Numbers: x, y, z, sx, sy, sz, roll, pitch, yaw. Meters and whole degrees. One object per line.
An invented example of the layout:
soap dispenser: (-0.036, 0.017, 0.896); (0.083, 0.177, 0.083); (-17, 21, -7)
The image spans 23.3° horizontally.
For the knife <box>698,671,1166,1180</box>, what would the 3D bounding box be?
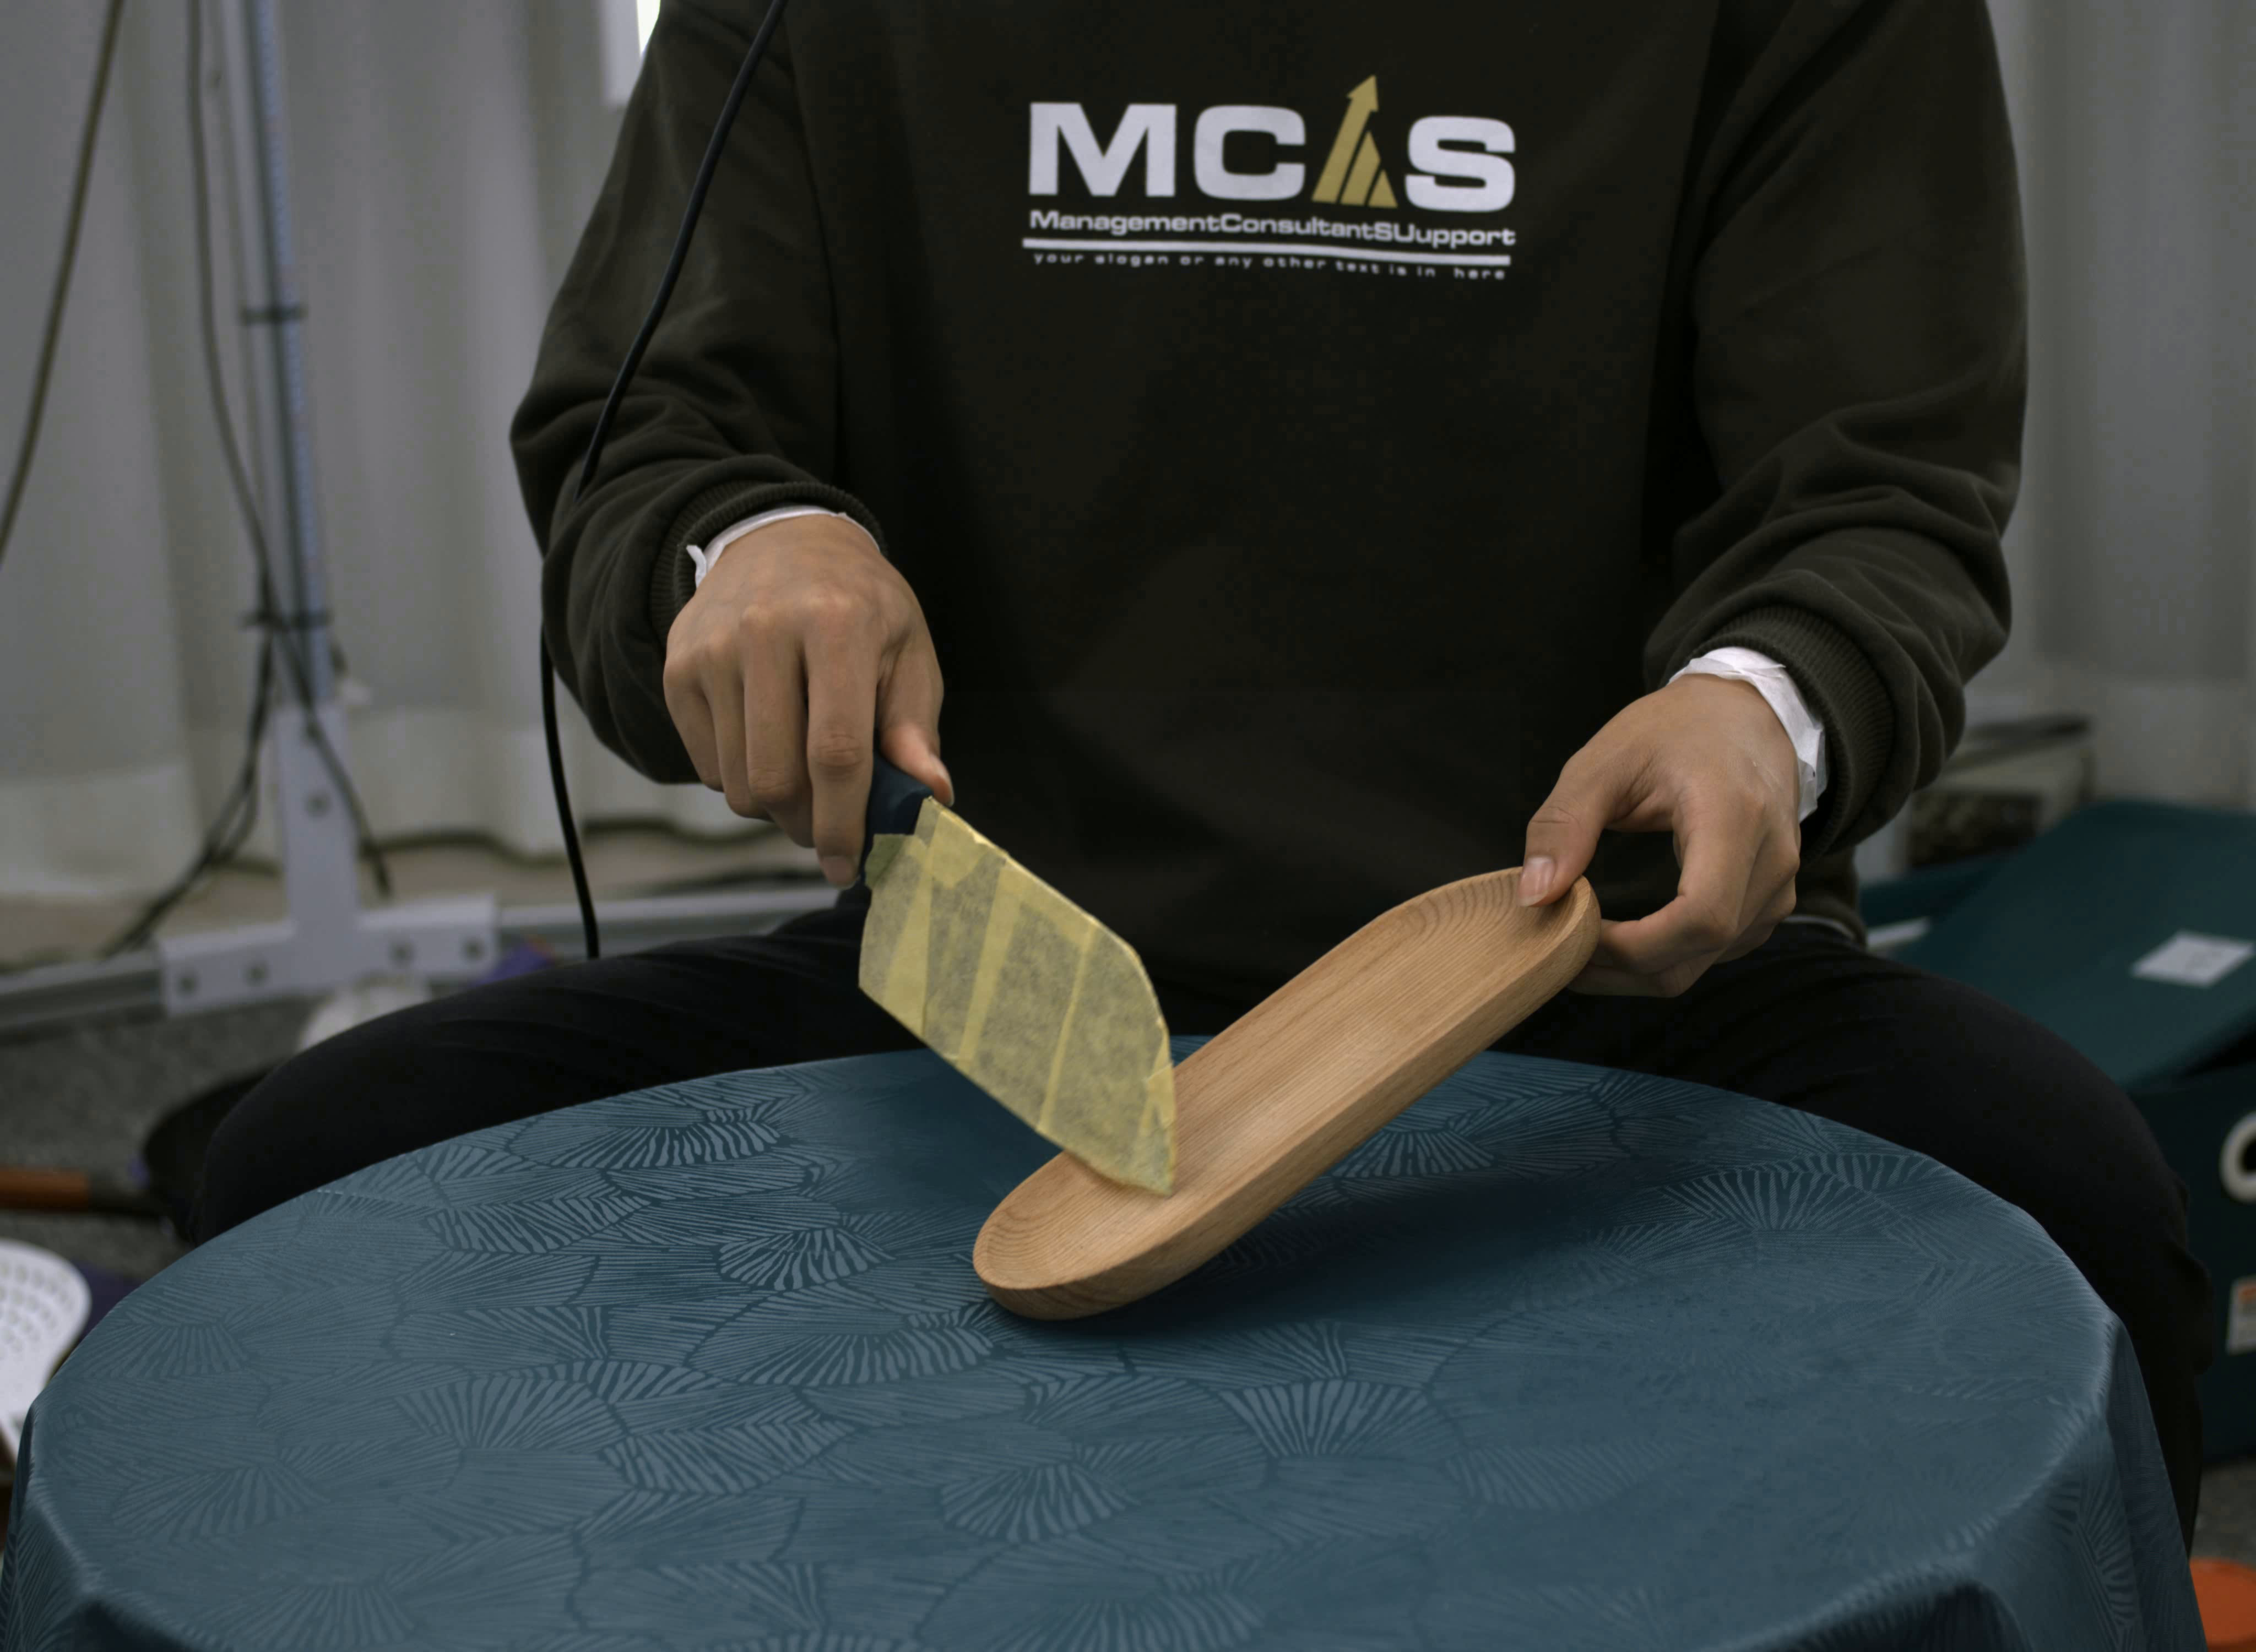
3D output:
knife: (-0.064, 0.027, 1.723); (0.027, 0.080, 0.293); (5, 24, -37)

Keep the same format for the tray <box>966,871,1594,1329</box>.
tray: (0.048, 0.081, 1.648); (0.232, 0.020, 0.102); (-37, 20, -24)
